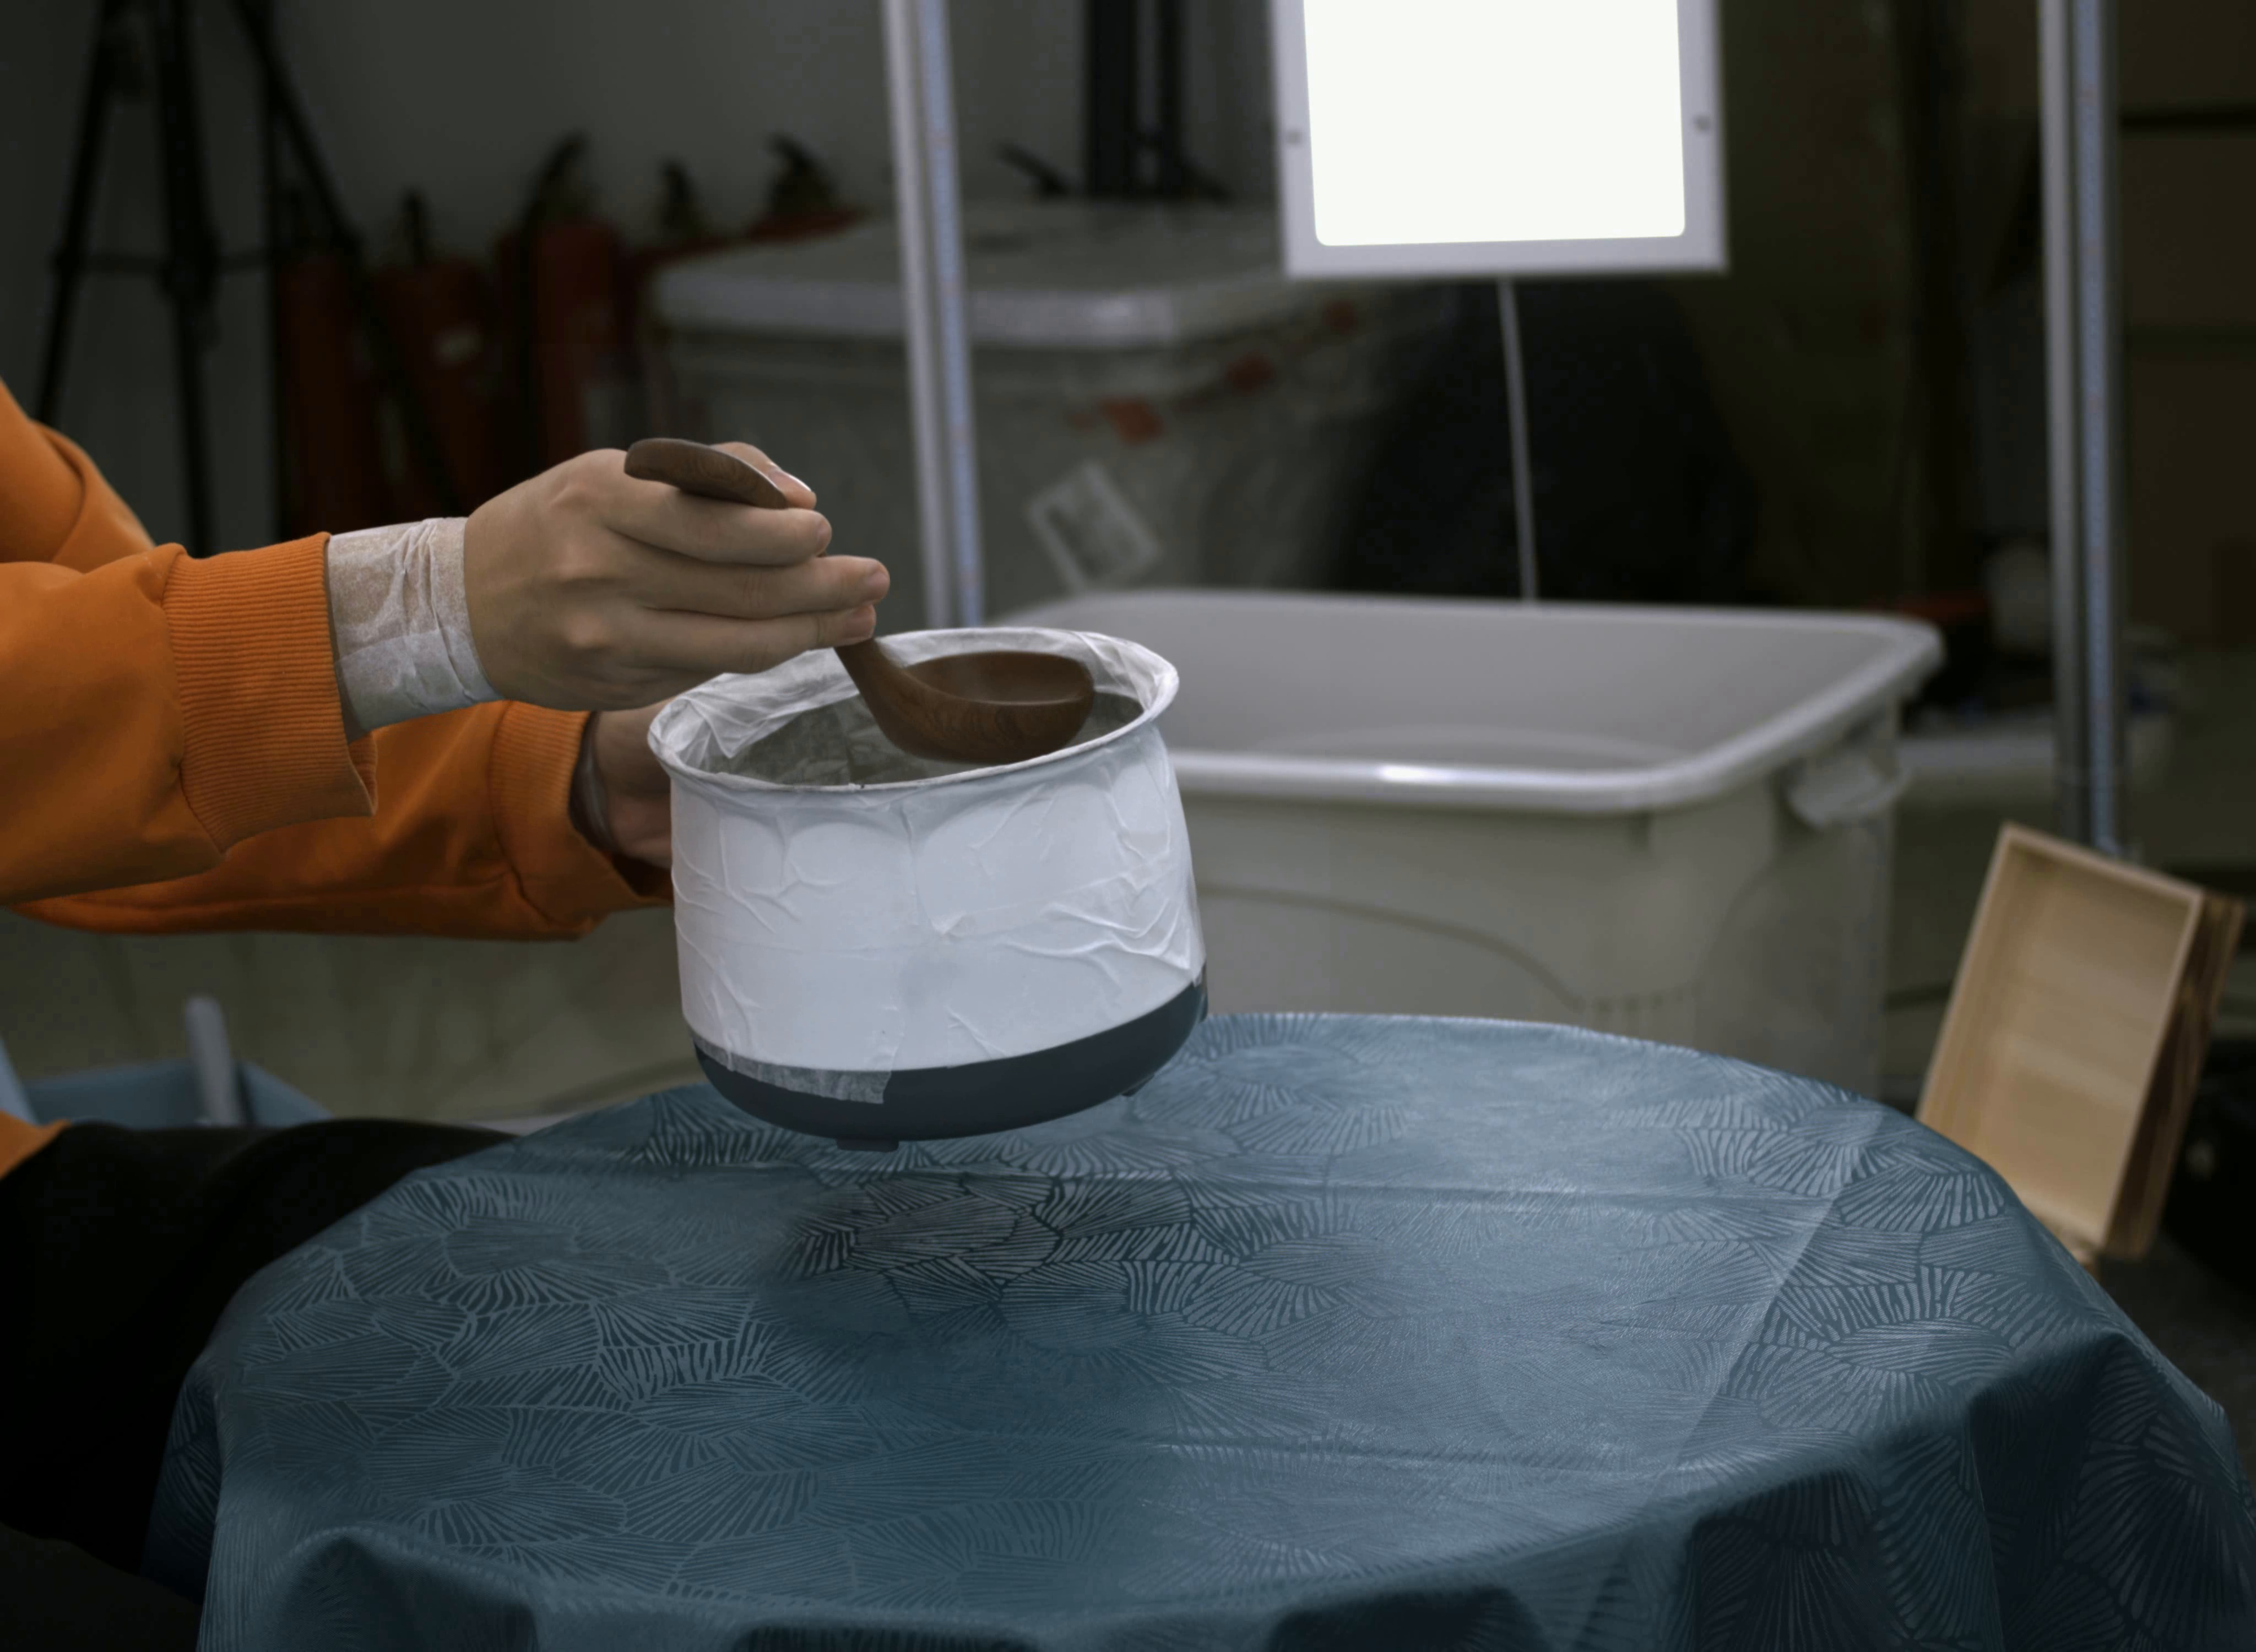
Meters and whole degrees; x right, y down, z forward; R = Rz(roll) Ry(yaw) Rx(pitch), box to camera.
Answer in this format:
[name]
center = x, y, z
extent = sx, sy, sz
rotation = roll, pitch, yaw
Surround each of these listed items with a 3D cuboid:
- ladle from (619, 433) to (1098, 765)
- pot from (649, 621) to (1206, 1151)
[ladle]
center = -0.087, -0.082, 1.762
extent = 0.078, 0.065, 0.256
rotation = 5, -23, 29
[pot]
center = -0.076, 0.013, 1.860
extent = 0.175, 0.137, 0.237
rotation = -12, 19, -20
